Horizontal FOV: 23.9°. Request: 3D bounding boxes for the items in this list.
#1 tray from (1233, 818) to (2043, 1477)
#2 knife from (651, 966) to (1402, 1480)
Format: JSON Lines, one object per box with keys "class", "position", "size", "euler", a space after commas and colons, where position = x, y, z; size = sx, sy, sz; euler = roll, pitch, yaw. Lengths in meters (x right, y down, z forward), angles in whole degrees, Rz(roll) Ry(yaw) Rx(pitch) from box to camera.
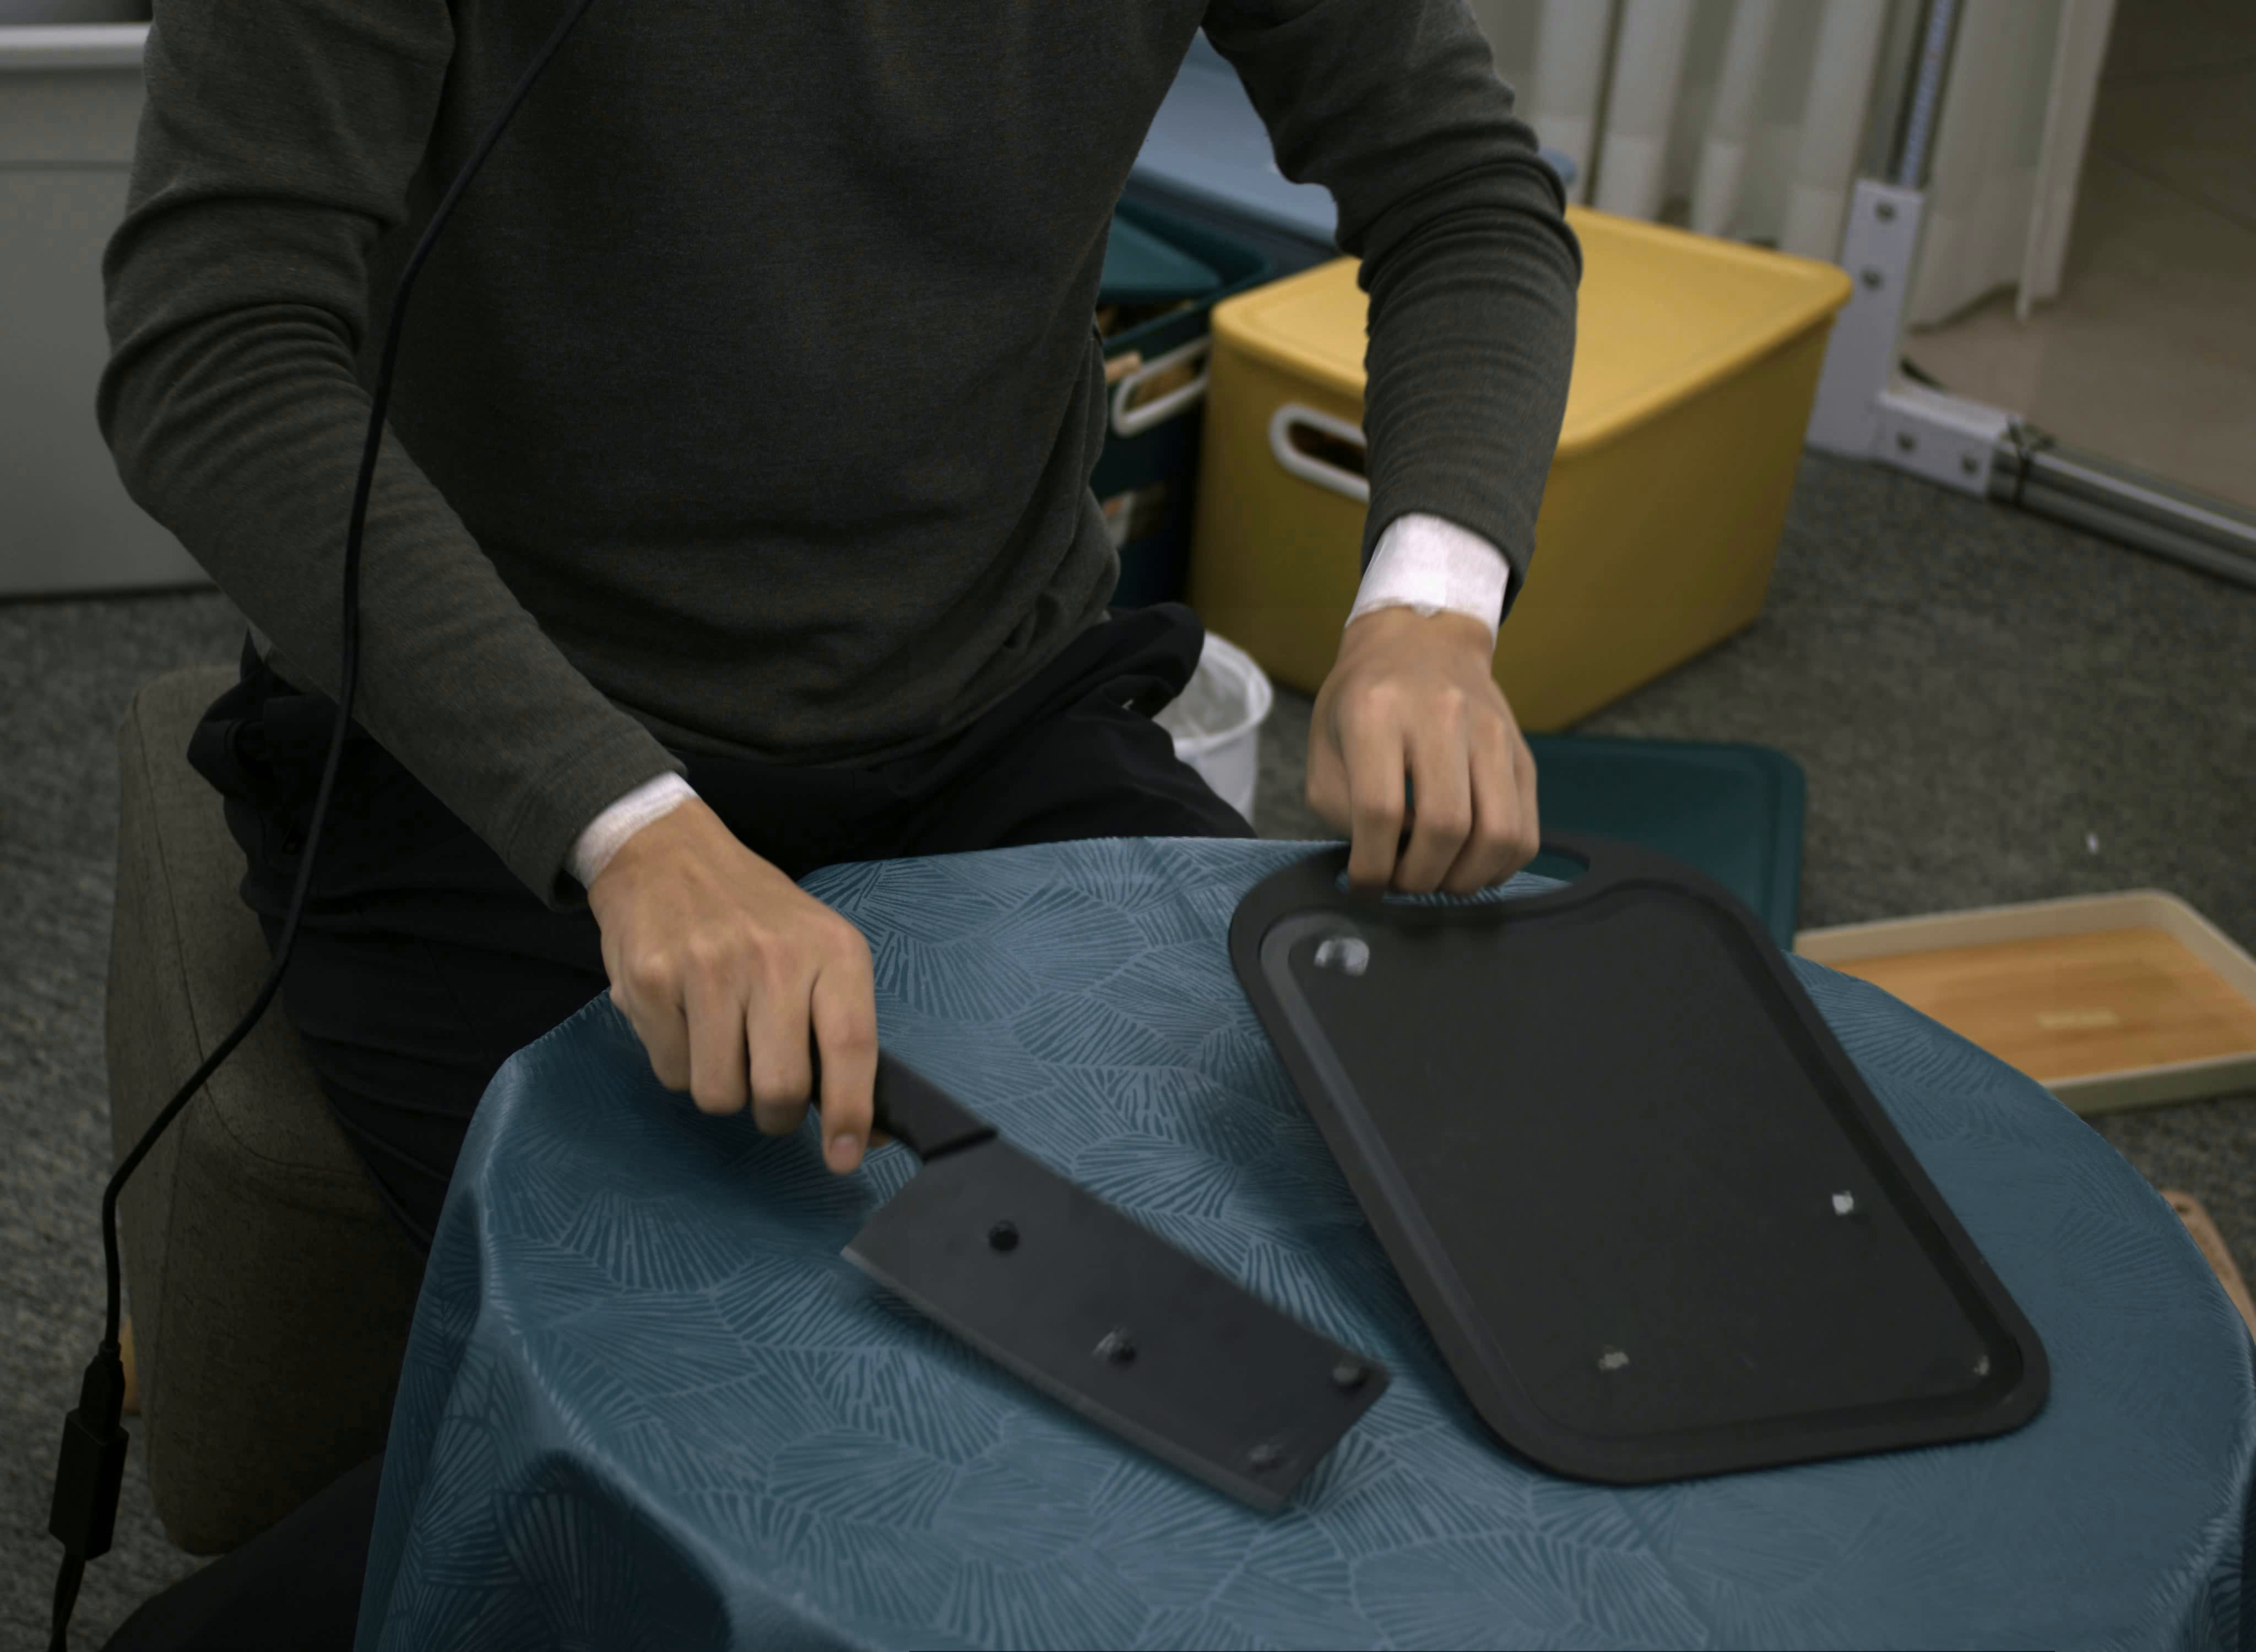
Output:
{"class": "tray", "position": [0.166, 0.099, 1.815], "size": [0.210, 0.010, 0.328], "euler": [-4, 40, -21]}
{"class": "knife", "position": [-0.044, 0.123, 1.726], "size": [0.304, 0.021, 0.081], "euler": [32, 60, 33]}
